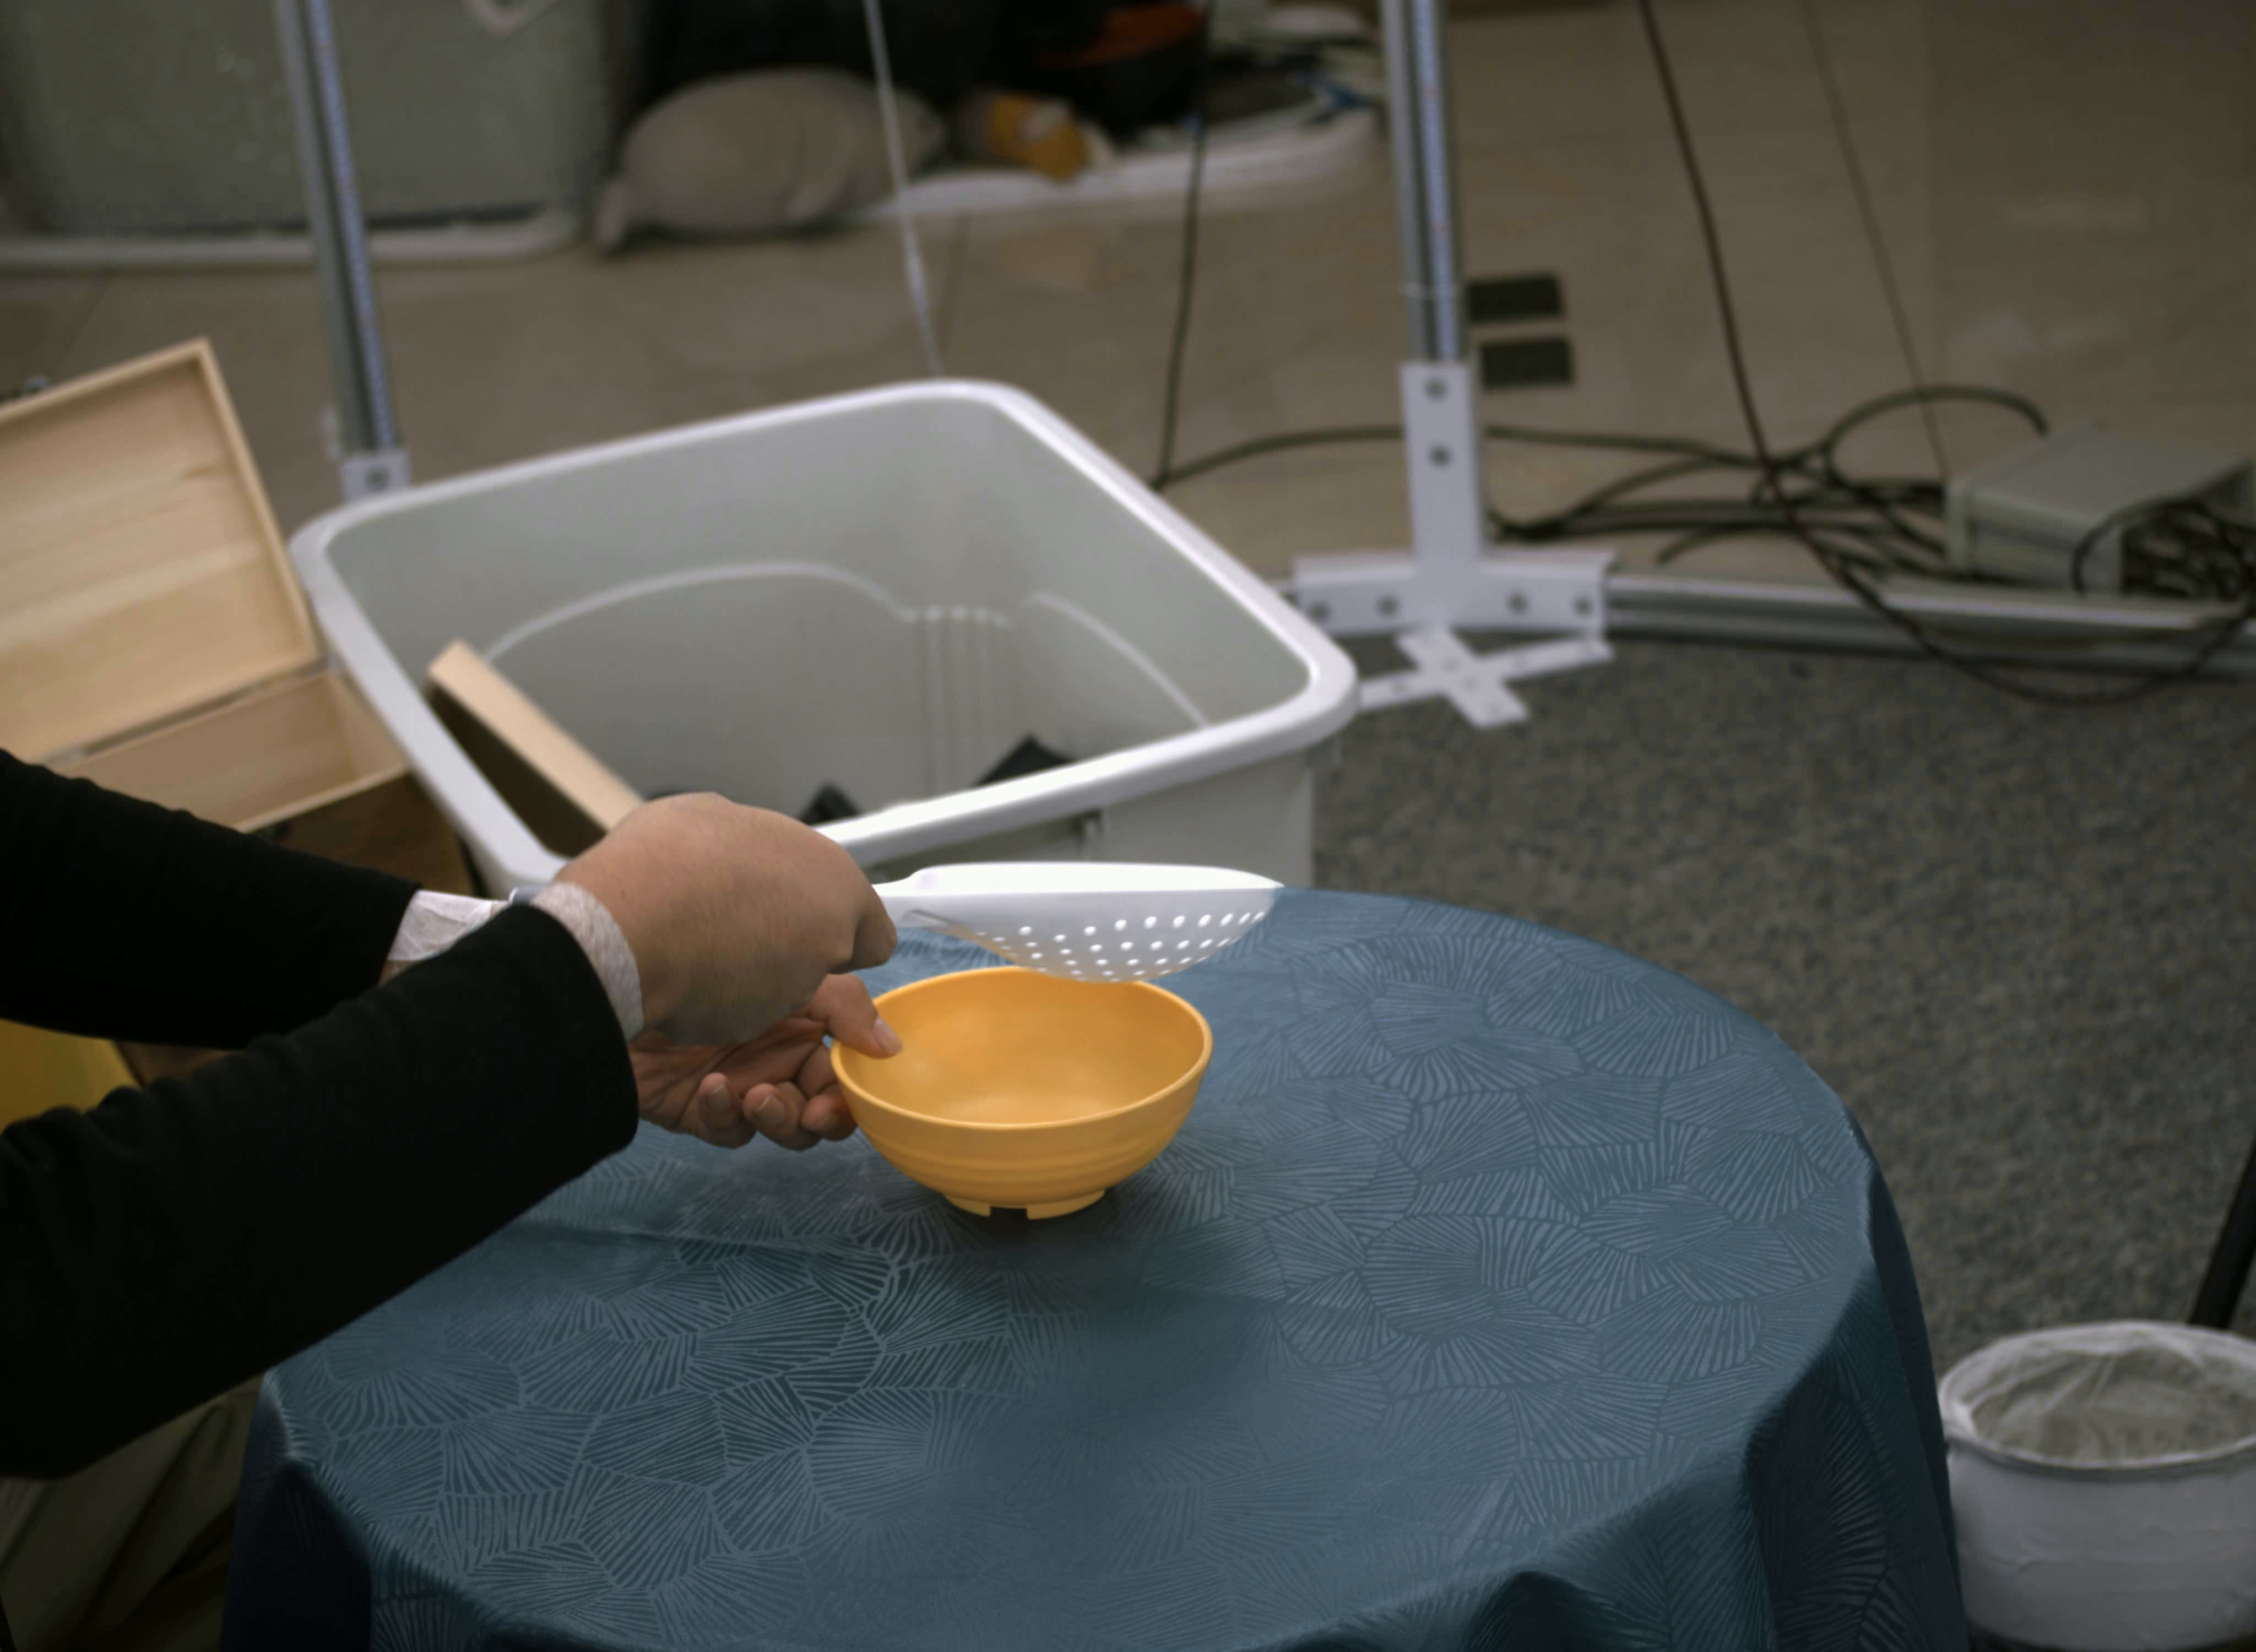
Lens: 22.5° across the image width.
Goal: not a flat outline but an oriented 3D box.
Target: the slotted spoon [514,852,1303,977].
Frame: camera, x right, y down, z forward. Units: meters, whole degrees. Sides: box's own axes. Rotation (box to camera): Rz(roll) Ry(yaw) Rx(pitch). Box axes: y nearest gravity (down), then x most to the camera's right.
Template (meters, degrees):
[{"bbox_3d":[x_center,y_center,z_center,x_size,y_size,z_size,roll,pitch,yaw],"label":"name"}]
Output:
[{"bbox_3d":[-0.077,0.026,1.999,0.135,0.046,0.350,6,1,42],"label":"slotted spoon"}]

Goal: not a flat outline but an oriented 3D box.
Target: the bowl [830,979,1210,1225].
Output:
[{"bbox_3d":[-0.040,0.111,2.146,0.145,0.061,0.143,-2,22,1],"label":"bowl"}]
